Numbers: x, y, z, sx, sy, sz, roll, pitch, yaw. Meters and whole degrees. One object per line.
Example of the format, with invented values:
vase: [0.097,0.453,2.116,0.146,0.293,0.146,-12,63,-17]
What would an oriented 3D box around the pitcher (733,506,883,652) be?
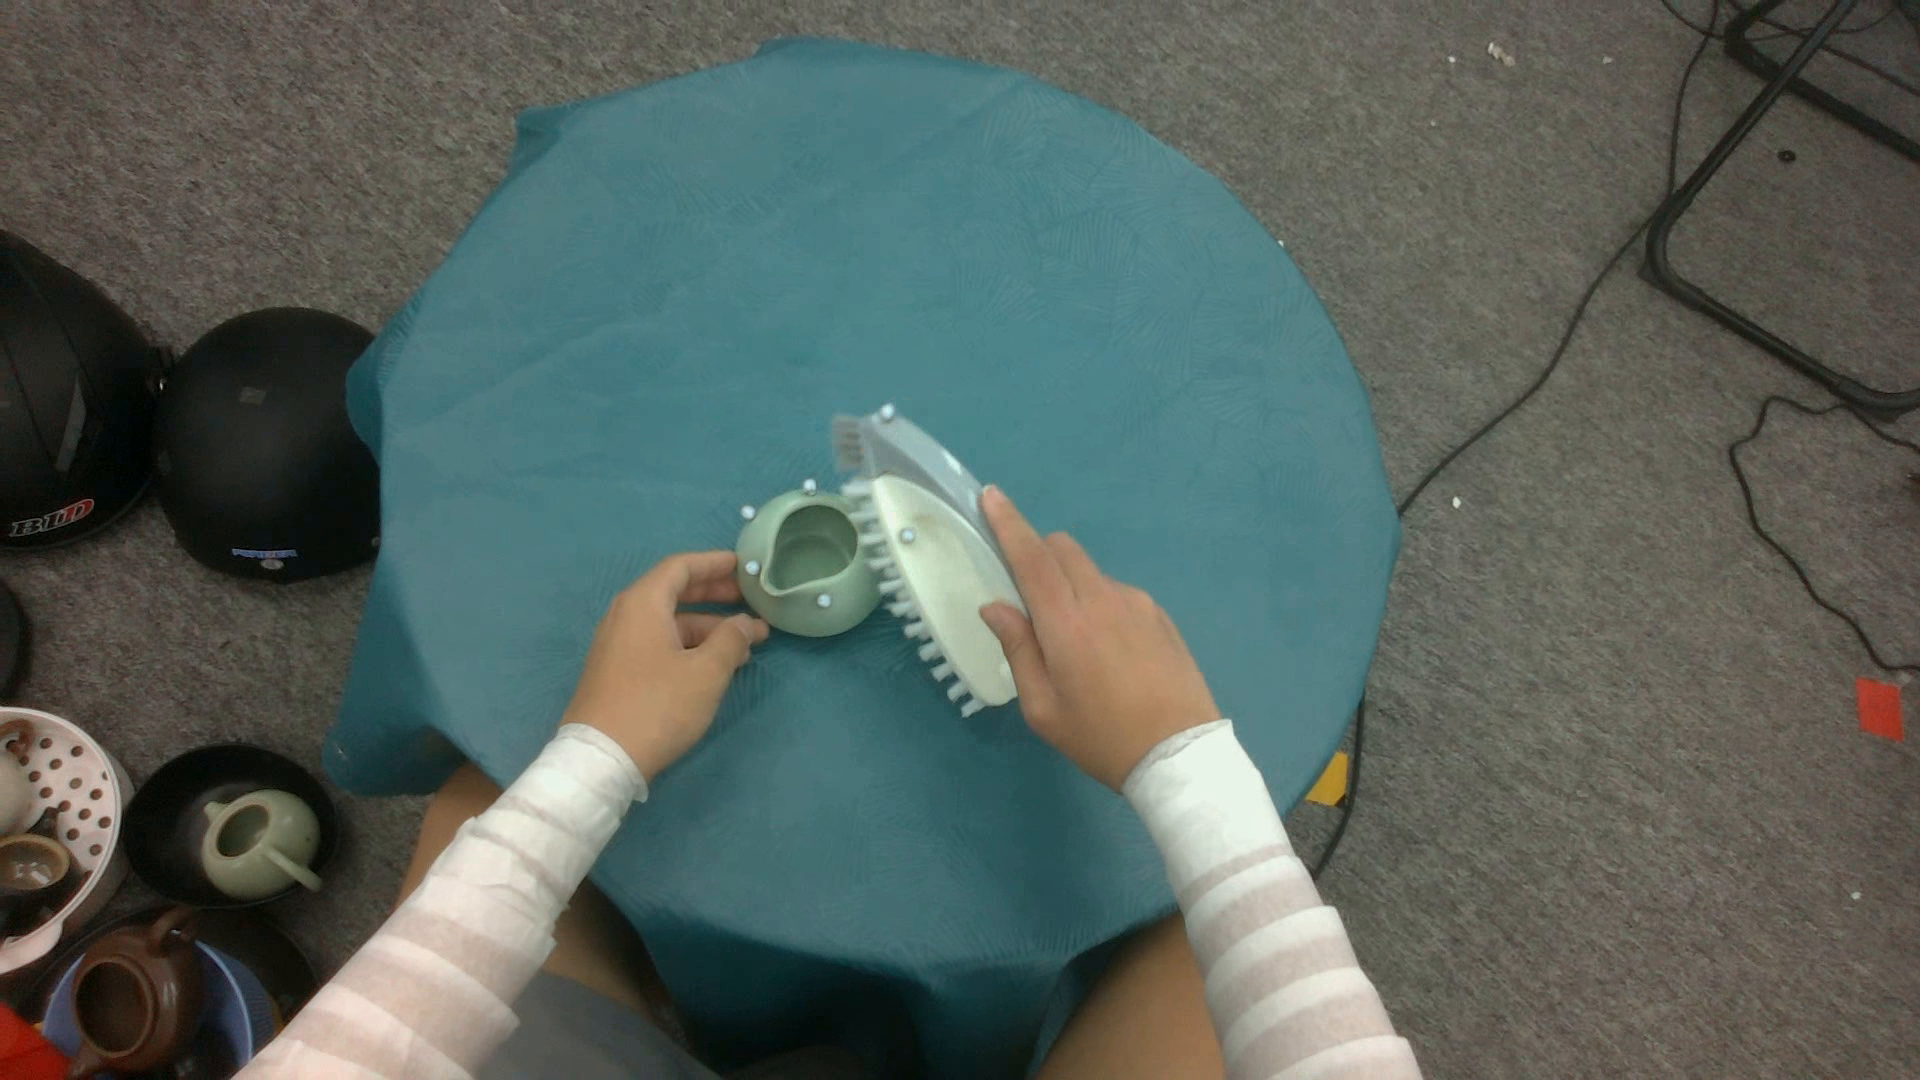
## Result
pitcher: [-0.076,0.009,0.770,0.086,0.060,0.108,33,62,5]

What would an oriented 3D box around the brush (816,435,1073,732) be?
brush: [-0.005,0.013,0.723,0.062,0.094,0.175,-39,97,-40]
